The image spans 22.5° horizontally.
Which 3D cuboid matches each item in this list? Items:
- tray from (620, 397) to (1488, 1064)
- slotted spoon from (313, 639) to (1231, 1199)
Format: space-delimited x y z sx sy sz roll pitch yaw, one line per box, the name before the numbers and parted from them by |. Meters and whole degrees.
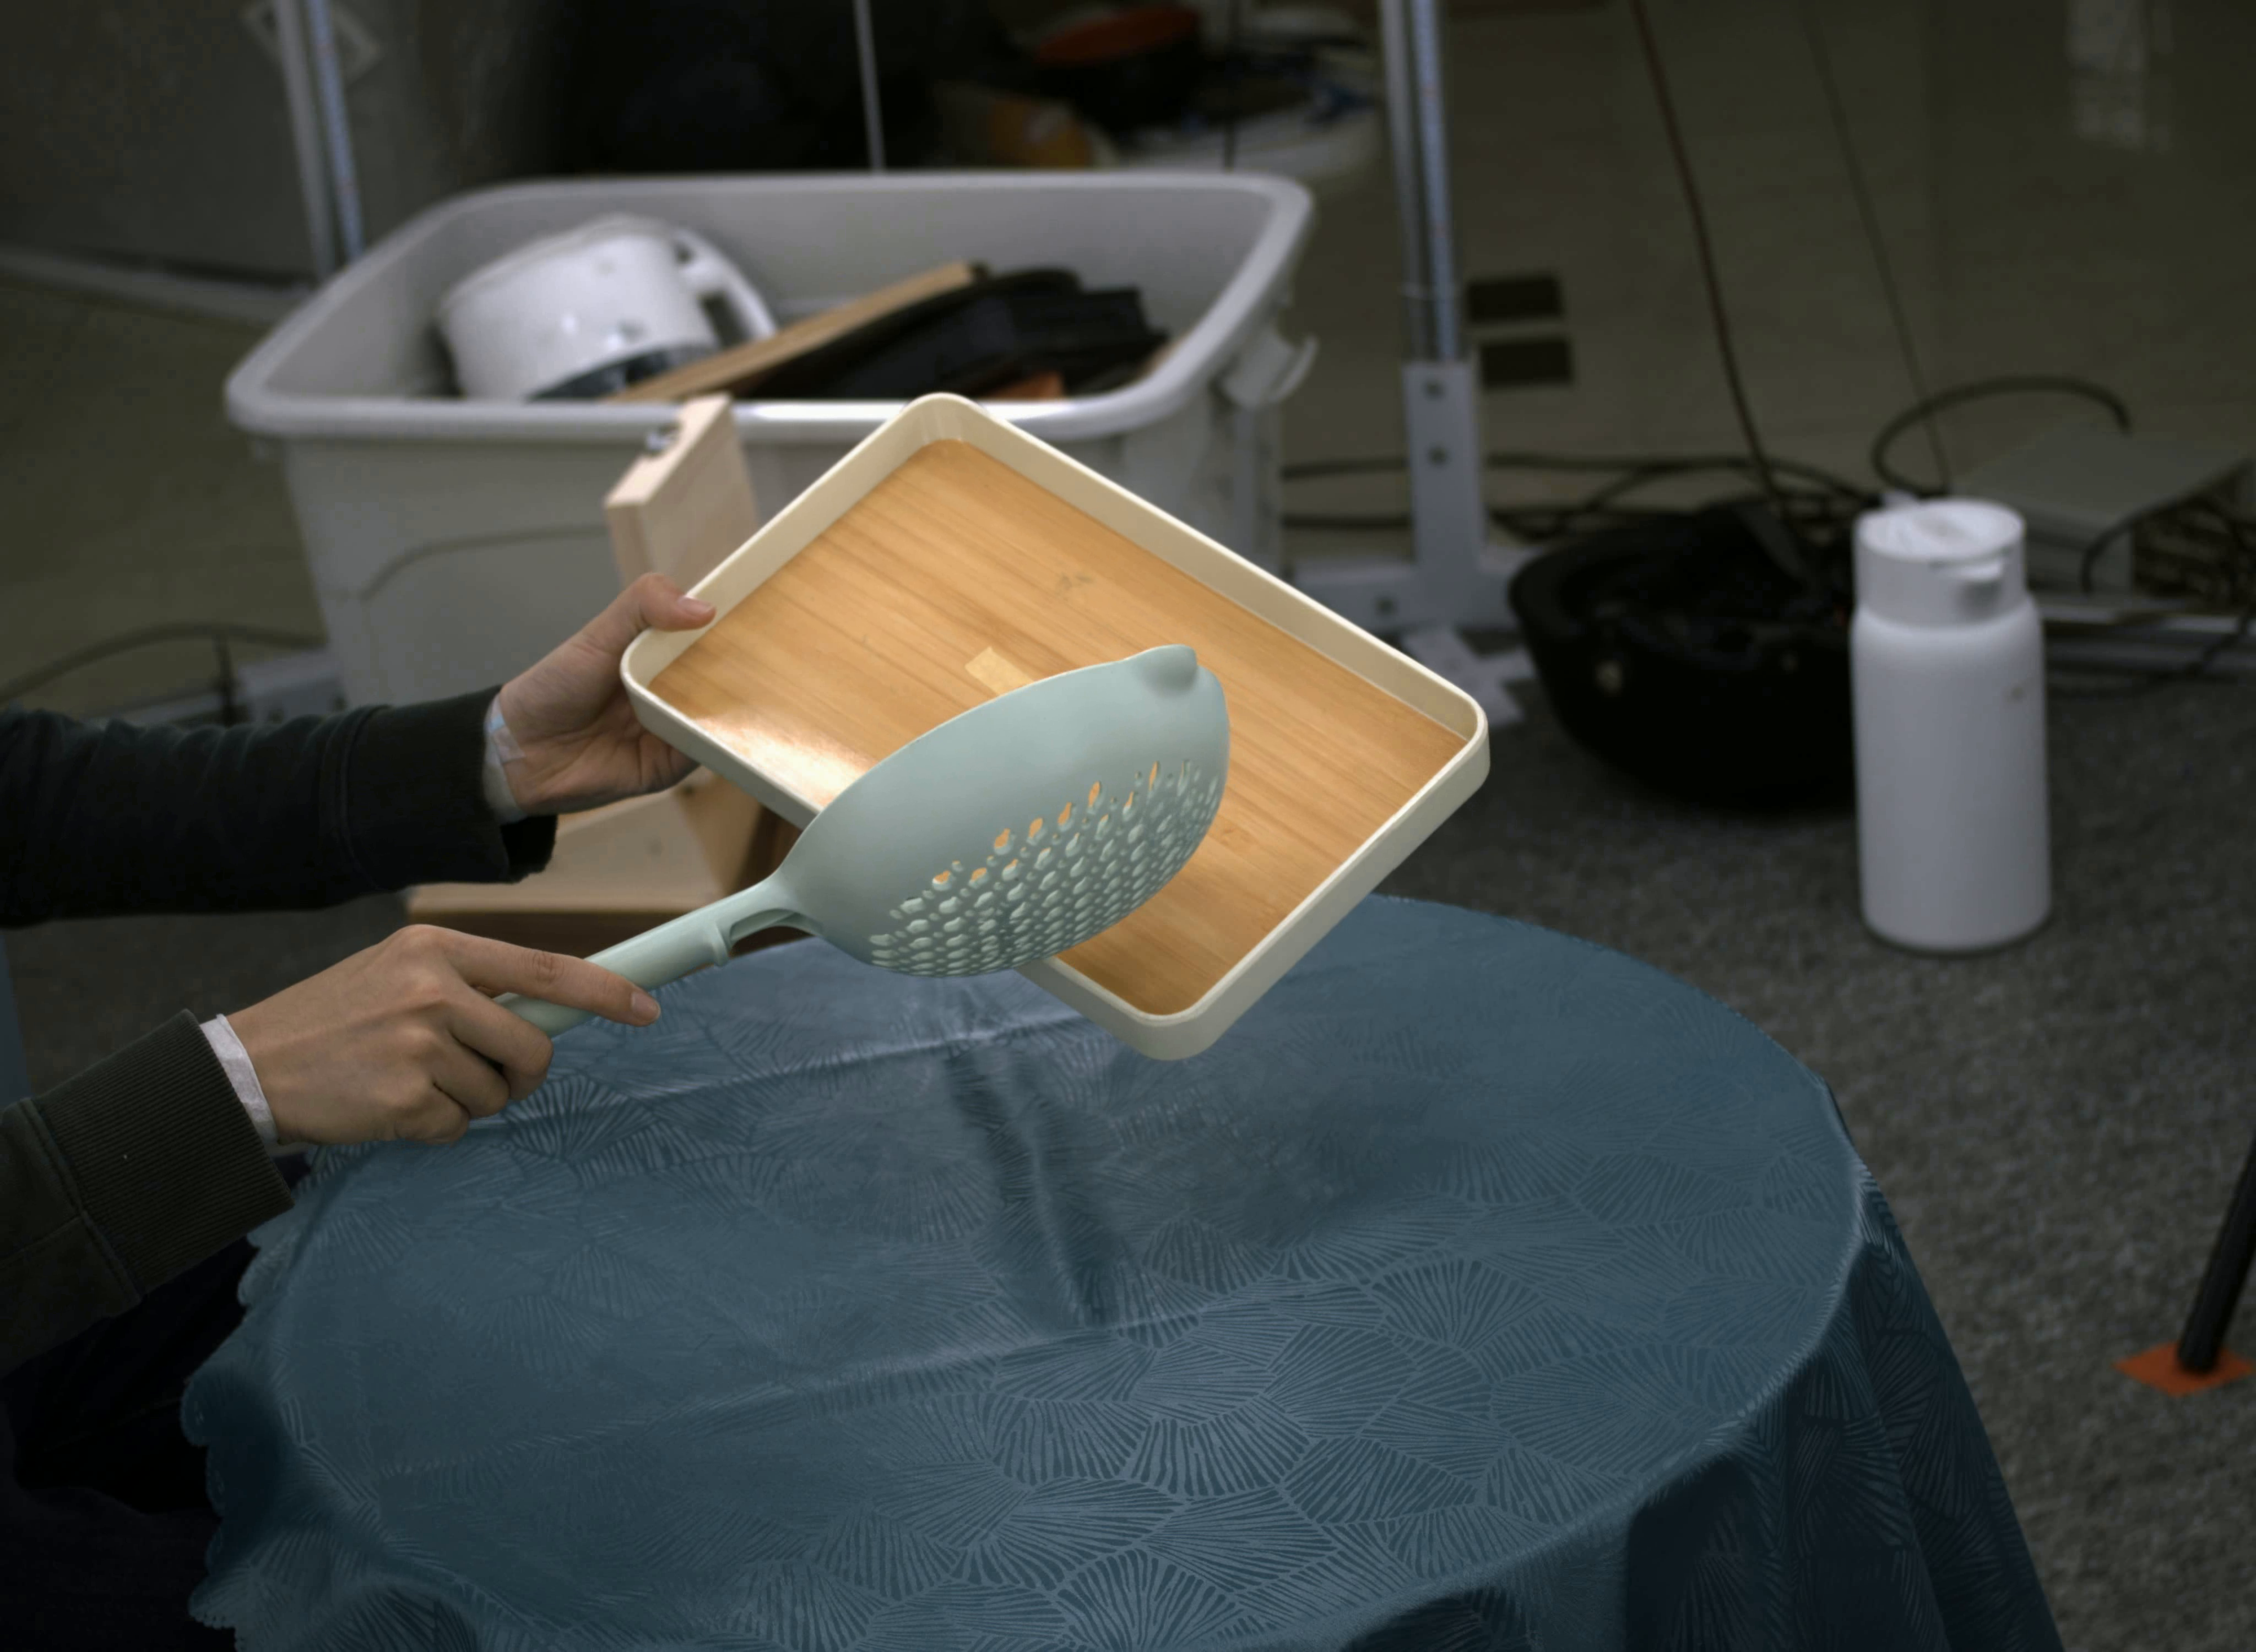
tray | -0.030 -0.042 2.150 0.297 0.028 0.190 33 63 30
slotted spoon | -0.123 0.039 1.980 0.358 0.171 0.074 -18 69 -8
